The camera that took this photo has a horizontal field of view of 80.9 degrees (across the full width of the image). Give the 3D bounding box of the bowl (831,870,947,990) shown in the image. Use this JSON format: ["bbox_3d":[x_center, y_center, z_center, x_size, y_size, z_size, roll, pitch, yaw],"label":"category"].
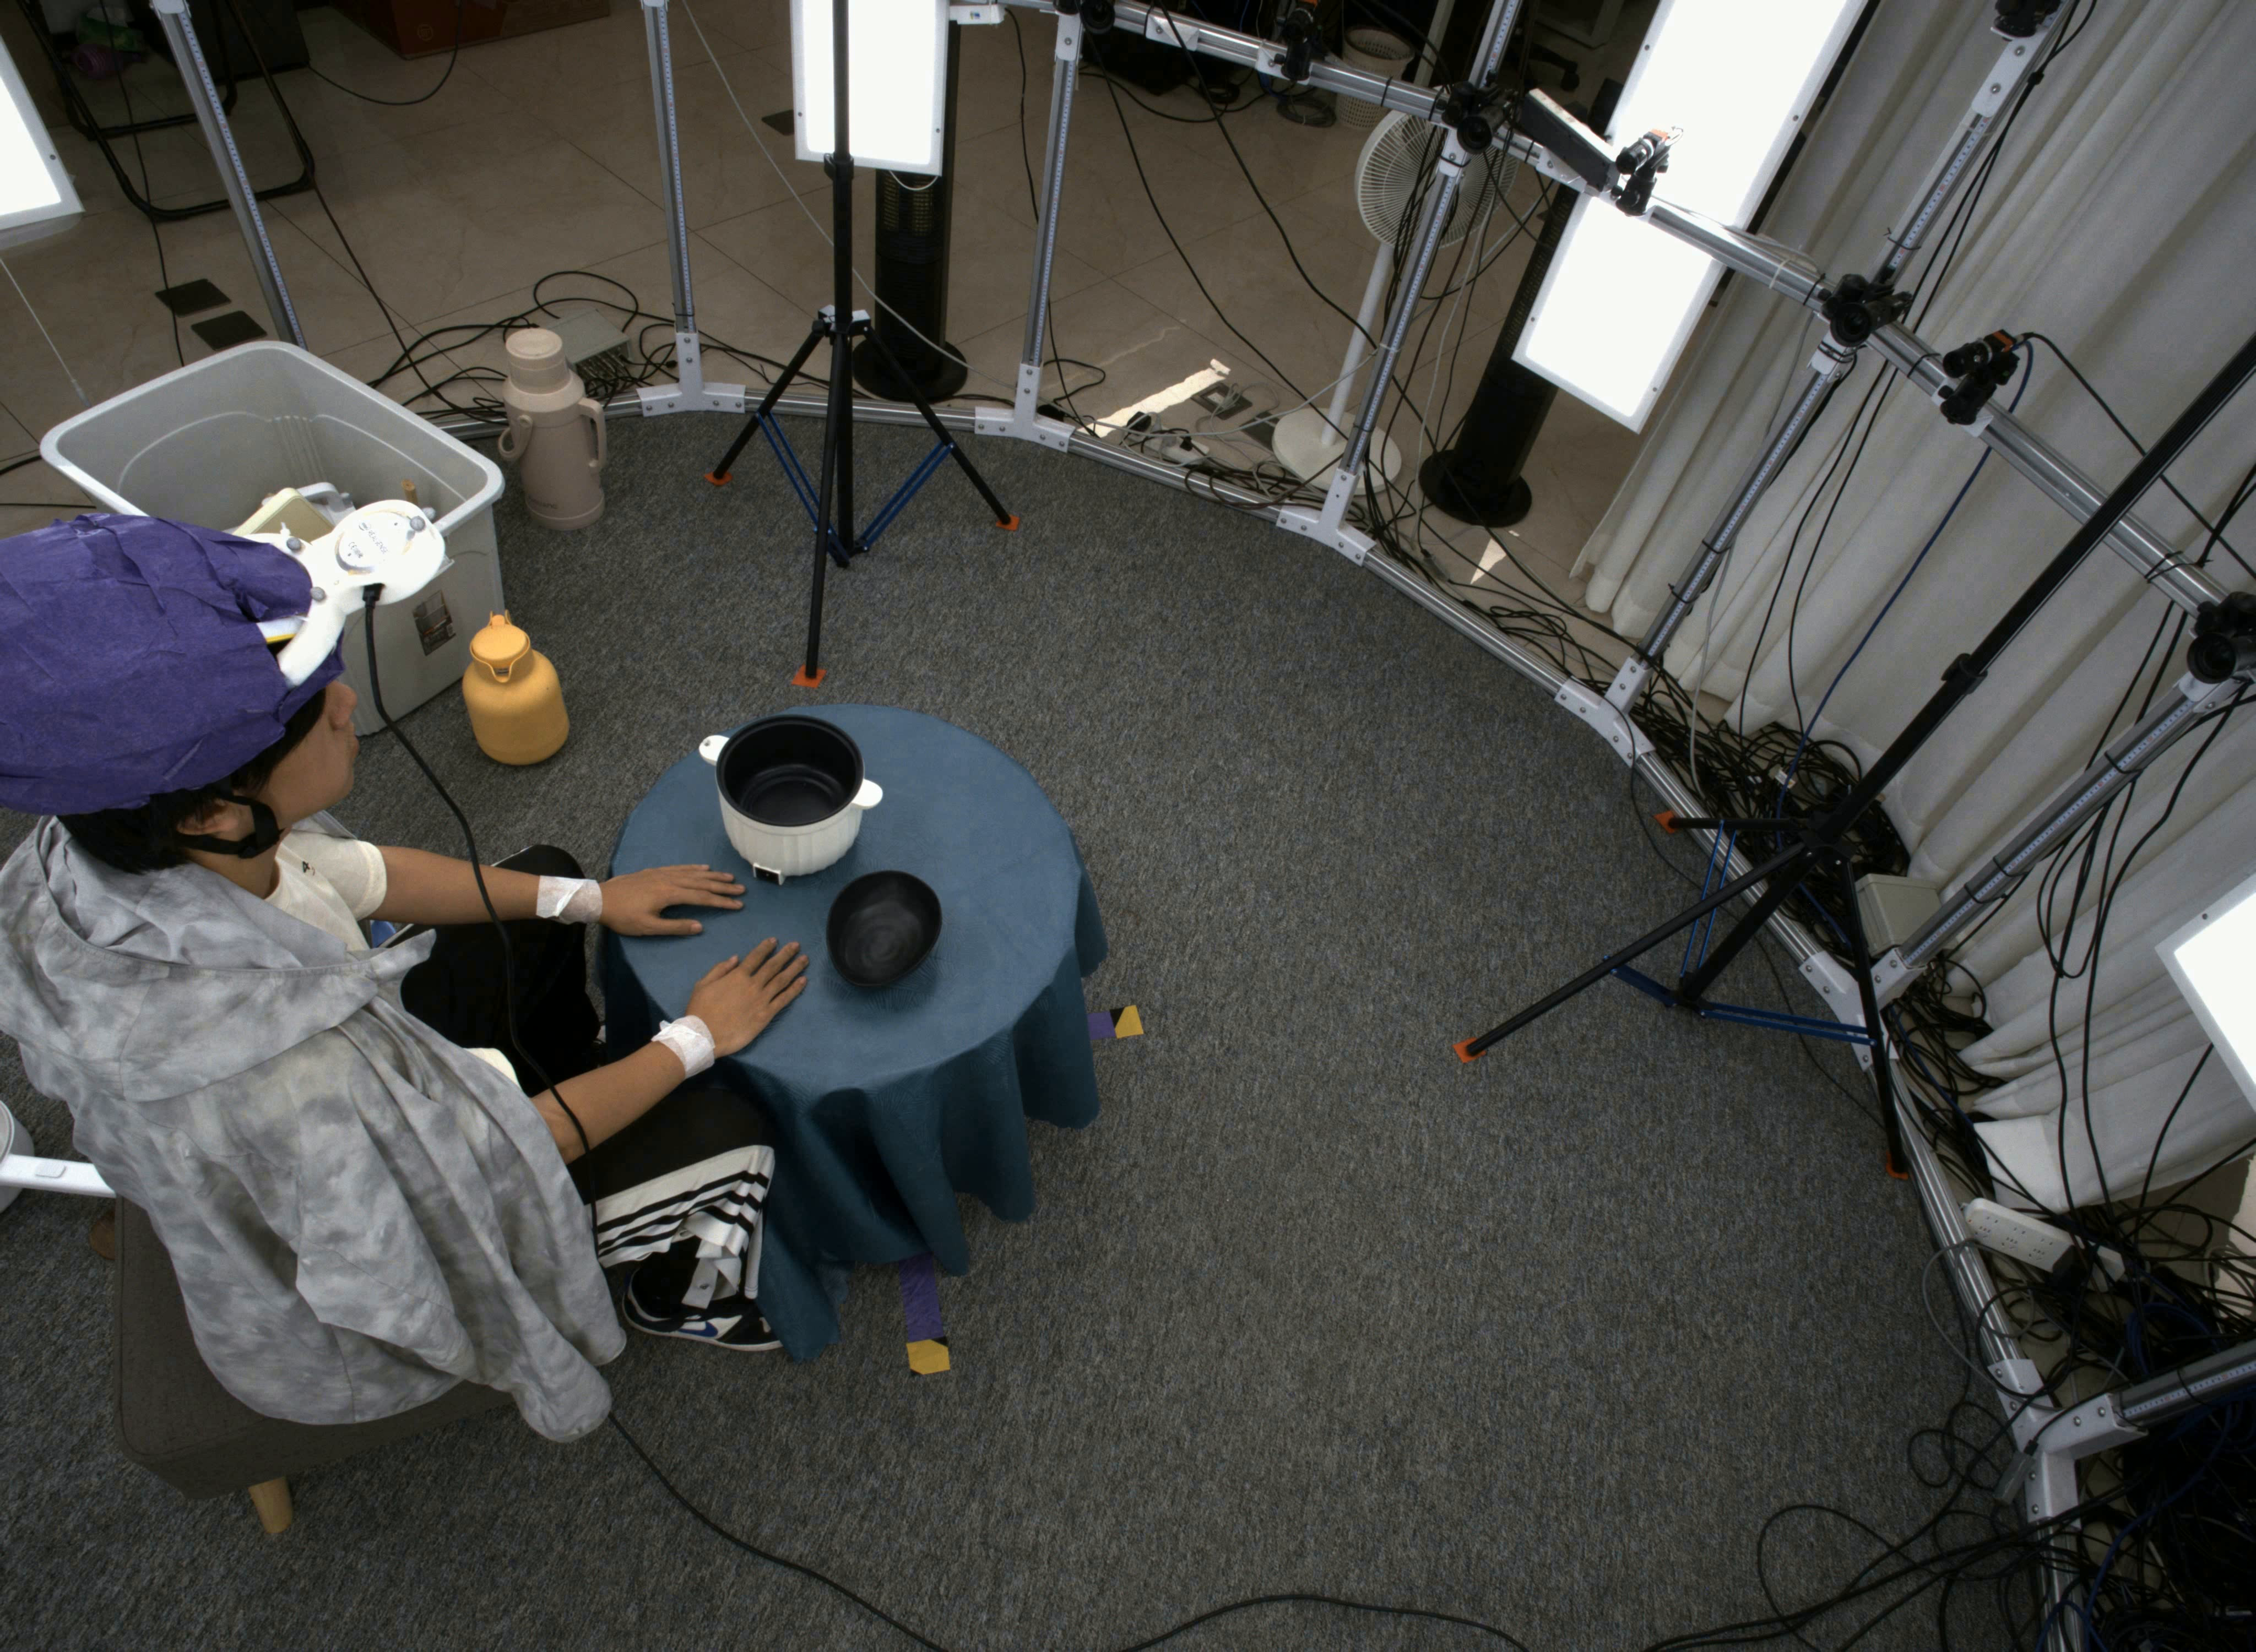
[{"bbox_3d":[-0.296,0.137,1.615,0.136,0.068,0.168,16,53,0],"label":"bowl"}]

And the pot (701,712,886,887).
[{"bbox_3d":[-0.425,-0.037,1.665,0.238,0.145,0.188,17,55,-1],"label":"pot"}]
